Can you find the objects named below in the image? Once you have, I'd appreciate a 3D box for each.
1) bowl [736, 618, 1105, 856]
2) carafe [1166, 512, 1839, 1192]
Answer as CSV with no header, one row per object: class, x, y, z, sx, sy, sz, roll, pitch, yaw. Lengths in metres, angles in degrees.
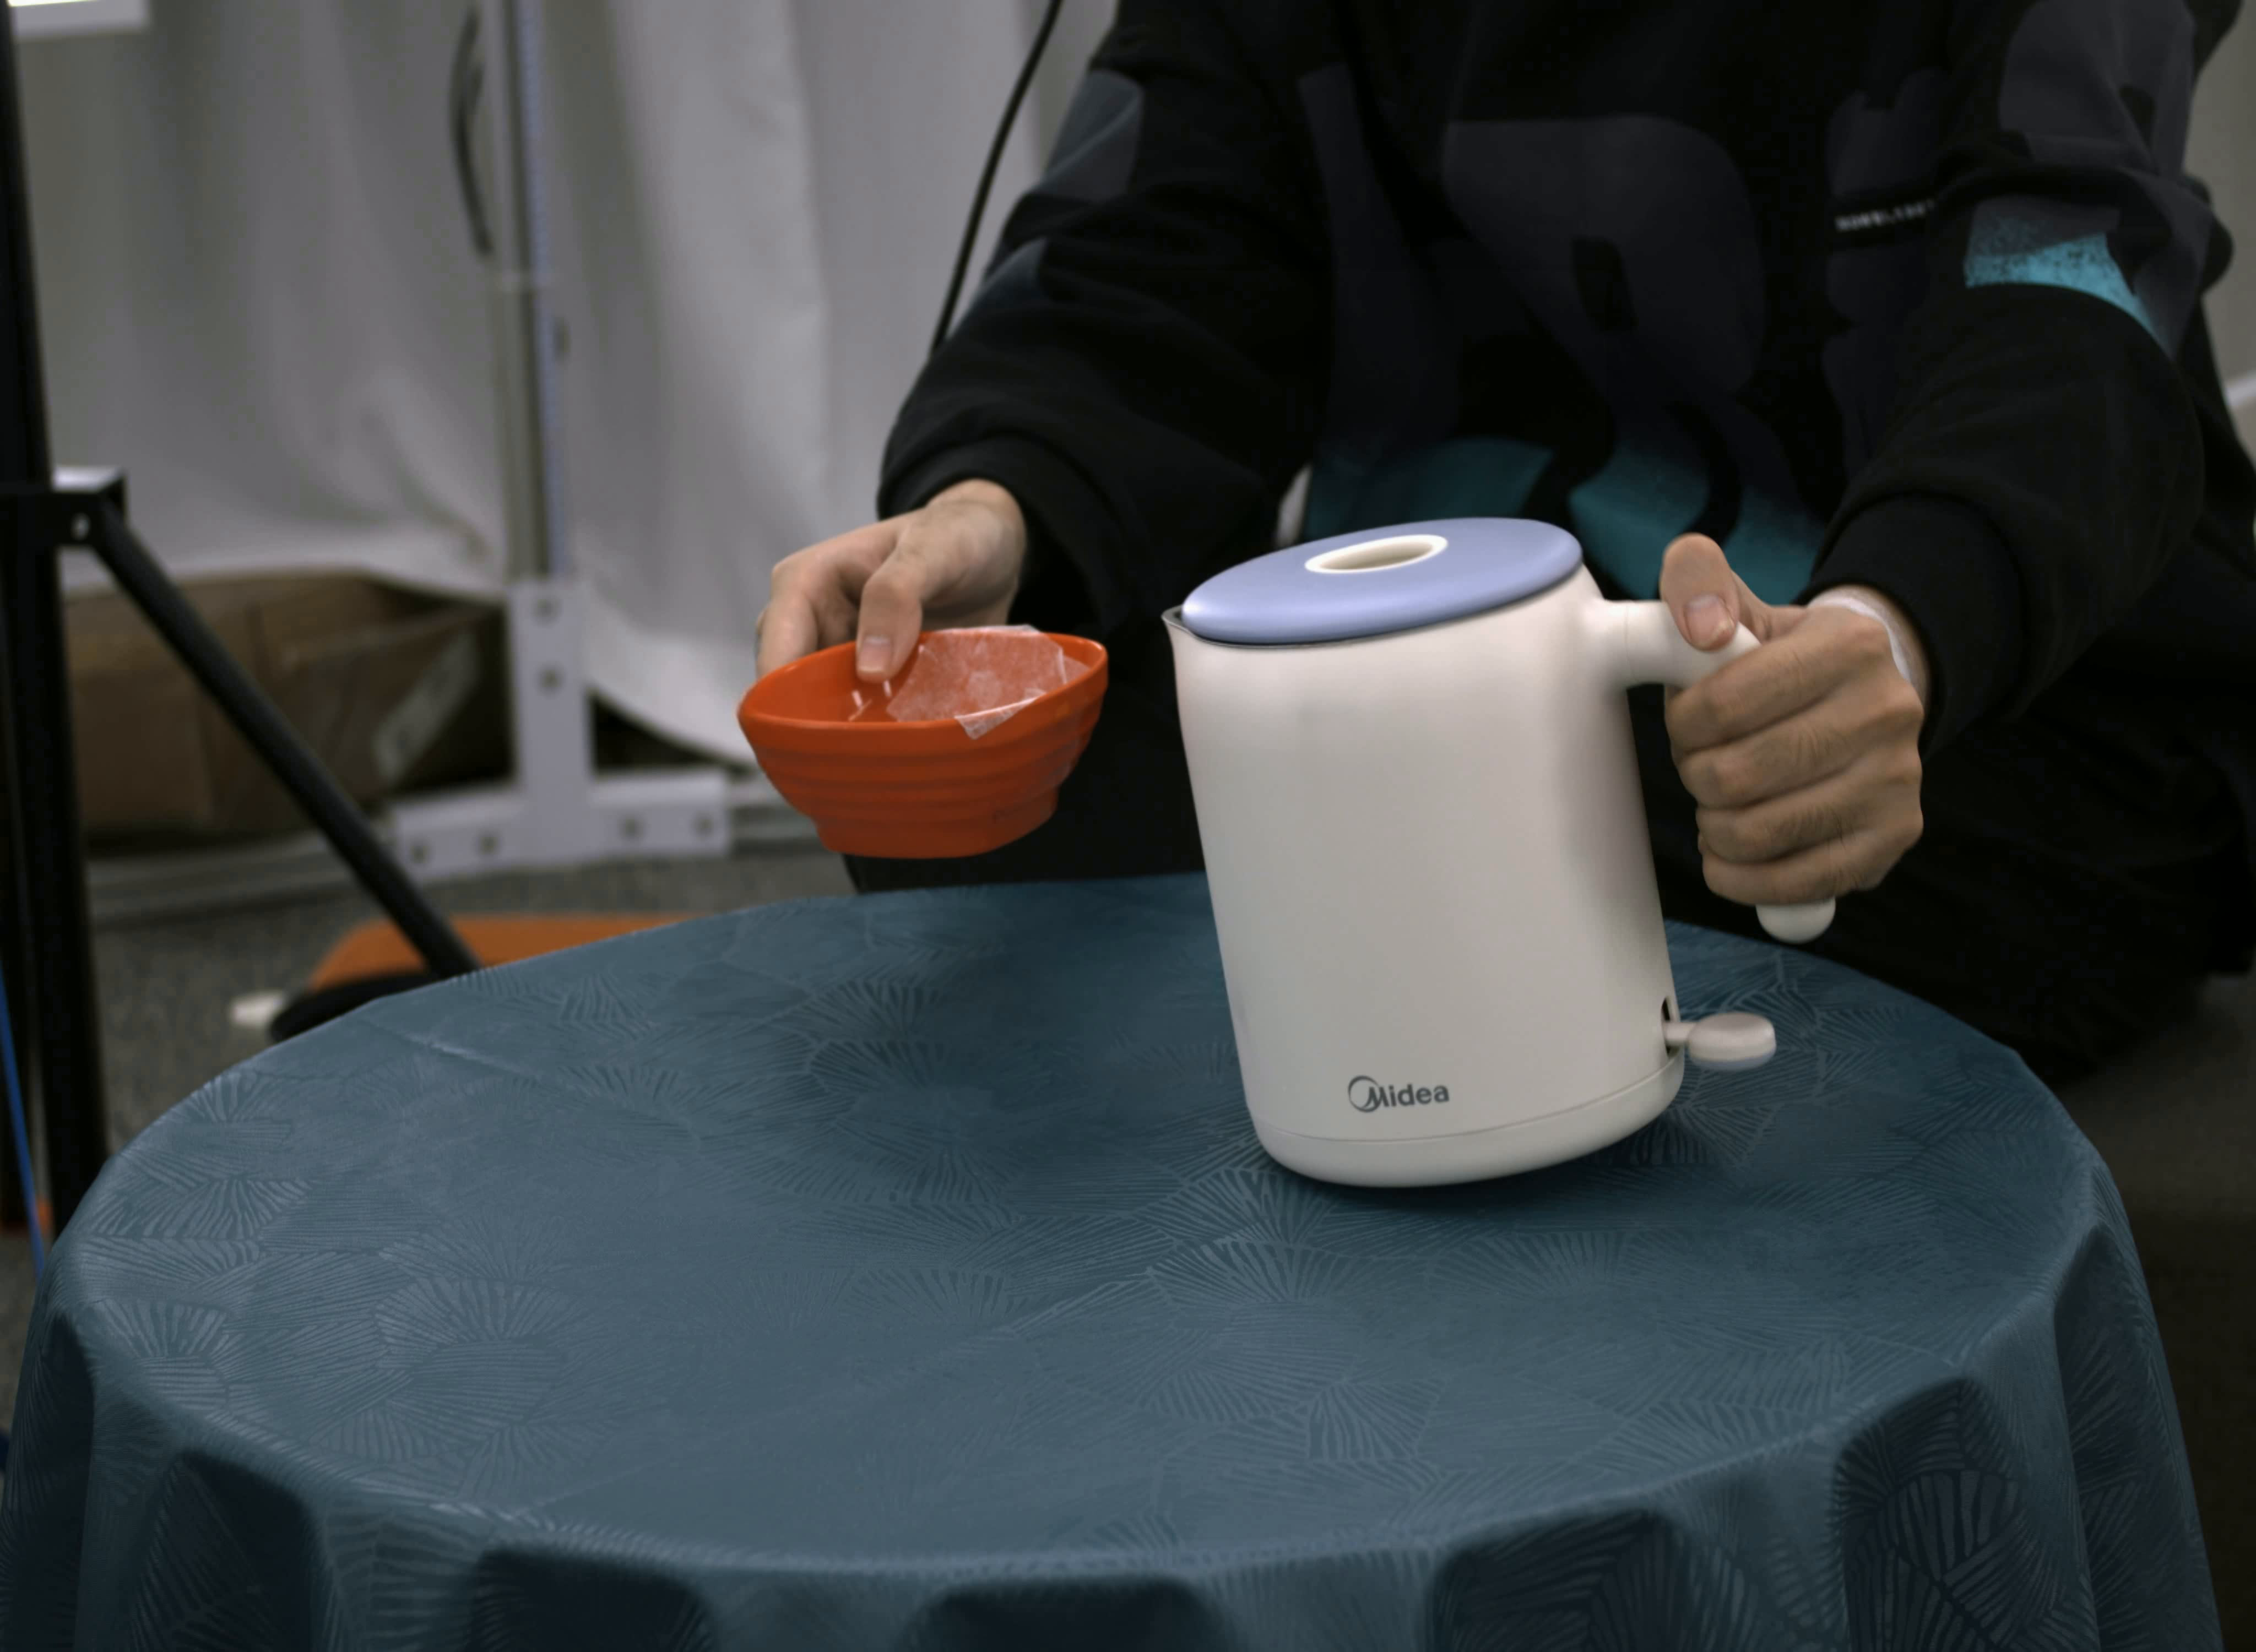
bowl,-0.061,-0.026,1.670,0.118,0.051,0.119,-9,17,1
carafe,0.111,0.006,1.553,0.193,0.182,0.131,-2,16,20
